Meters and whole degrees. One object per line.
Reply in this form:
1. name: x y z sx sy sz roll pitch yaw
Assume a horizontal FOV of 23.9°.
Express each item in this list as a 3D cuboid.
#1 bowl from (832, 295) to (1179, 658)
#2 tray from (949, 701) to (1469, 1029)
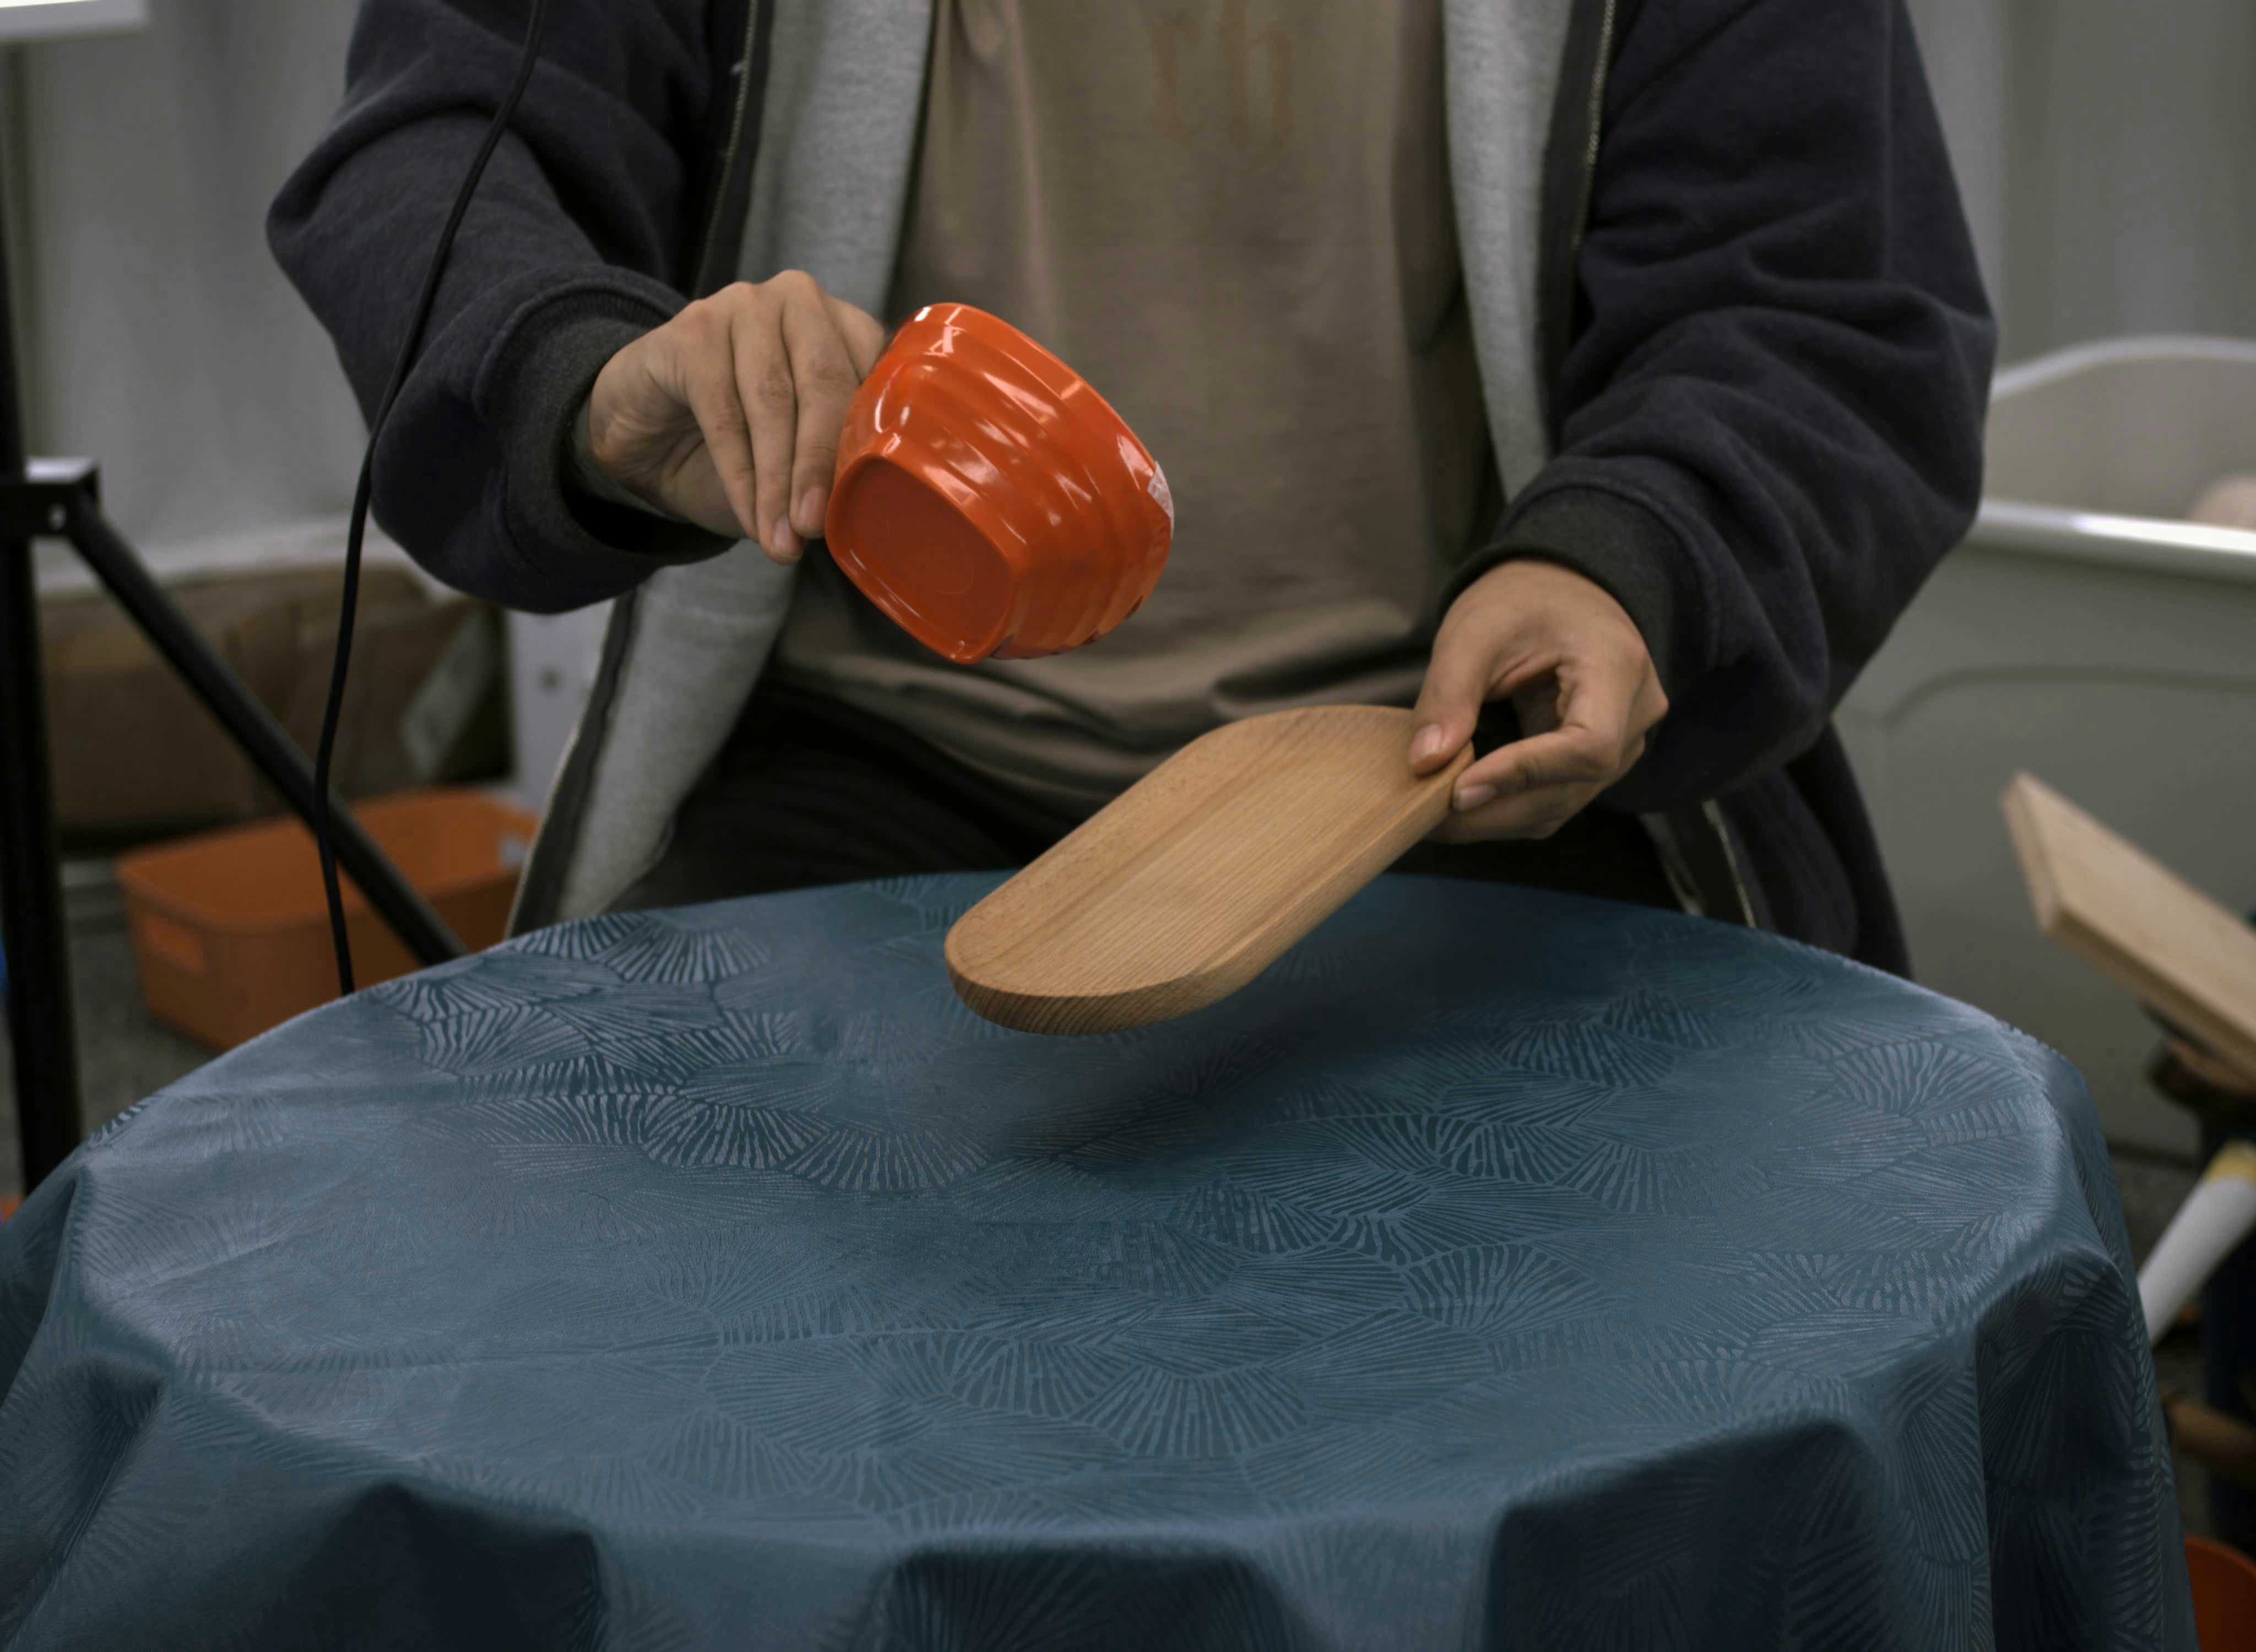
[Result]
1. bowl: -0.045 -0.095 1.589 0.121 0.117 0.051 12 45 41
2. tray: 0.028 0.010 1.653 0.103 0.020 0.228 6 25 30
